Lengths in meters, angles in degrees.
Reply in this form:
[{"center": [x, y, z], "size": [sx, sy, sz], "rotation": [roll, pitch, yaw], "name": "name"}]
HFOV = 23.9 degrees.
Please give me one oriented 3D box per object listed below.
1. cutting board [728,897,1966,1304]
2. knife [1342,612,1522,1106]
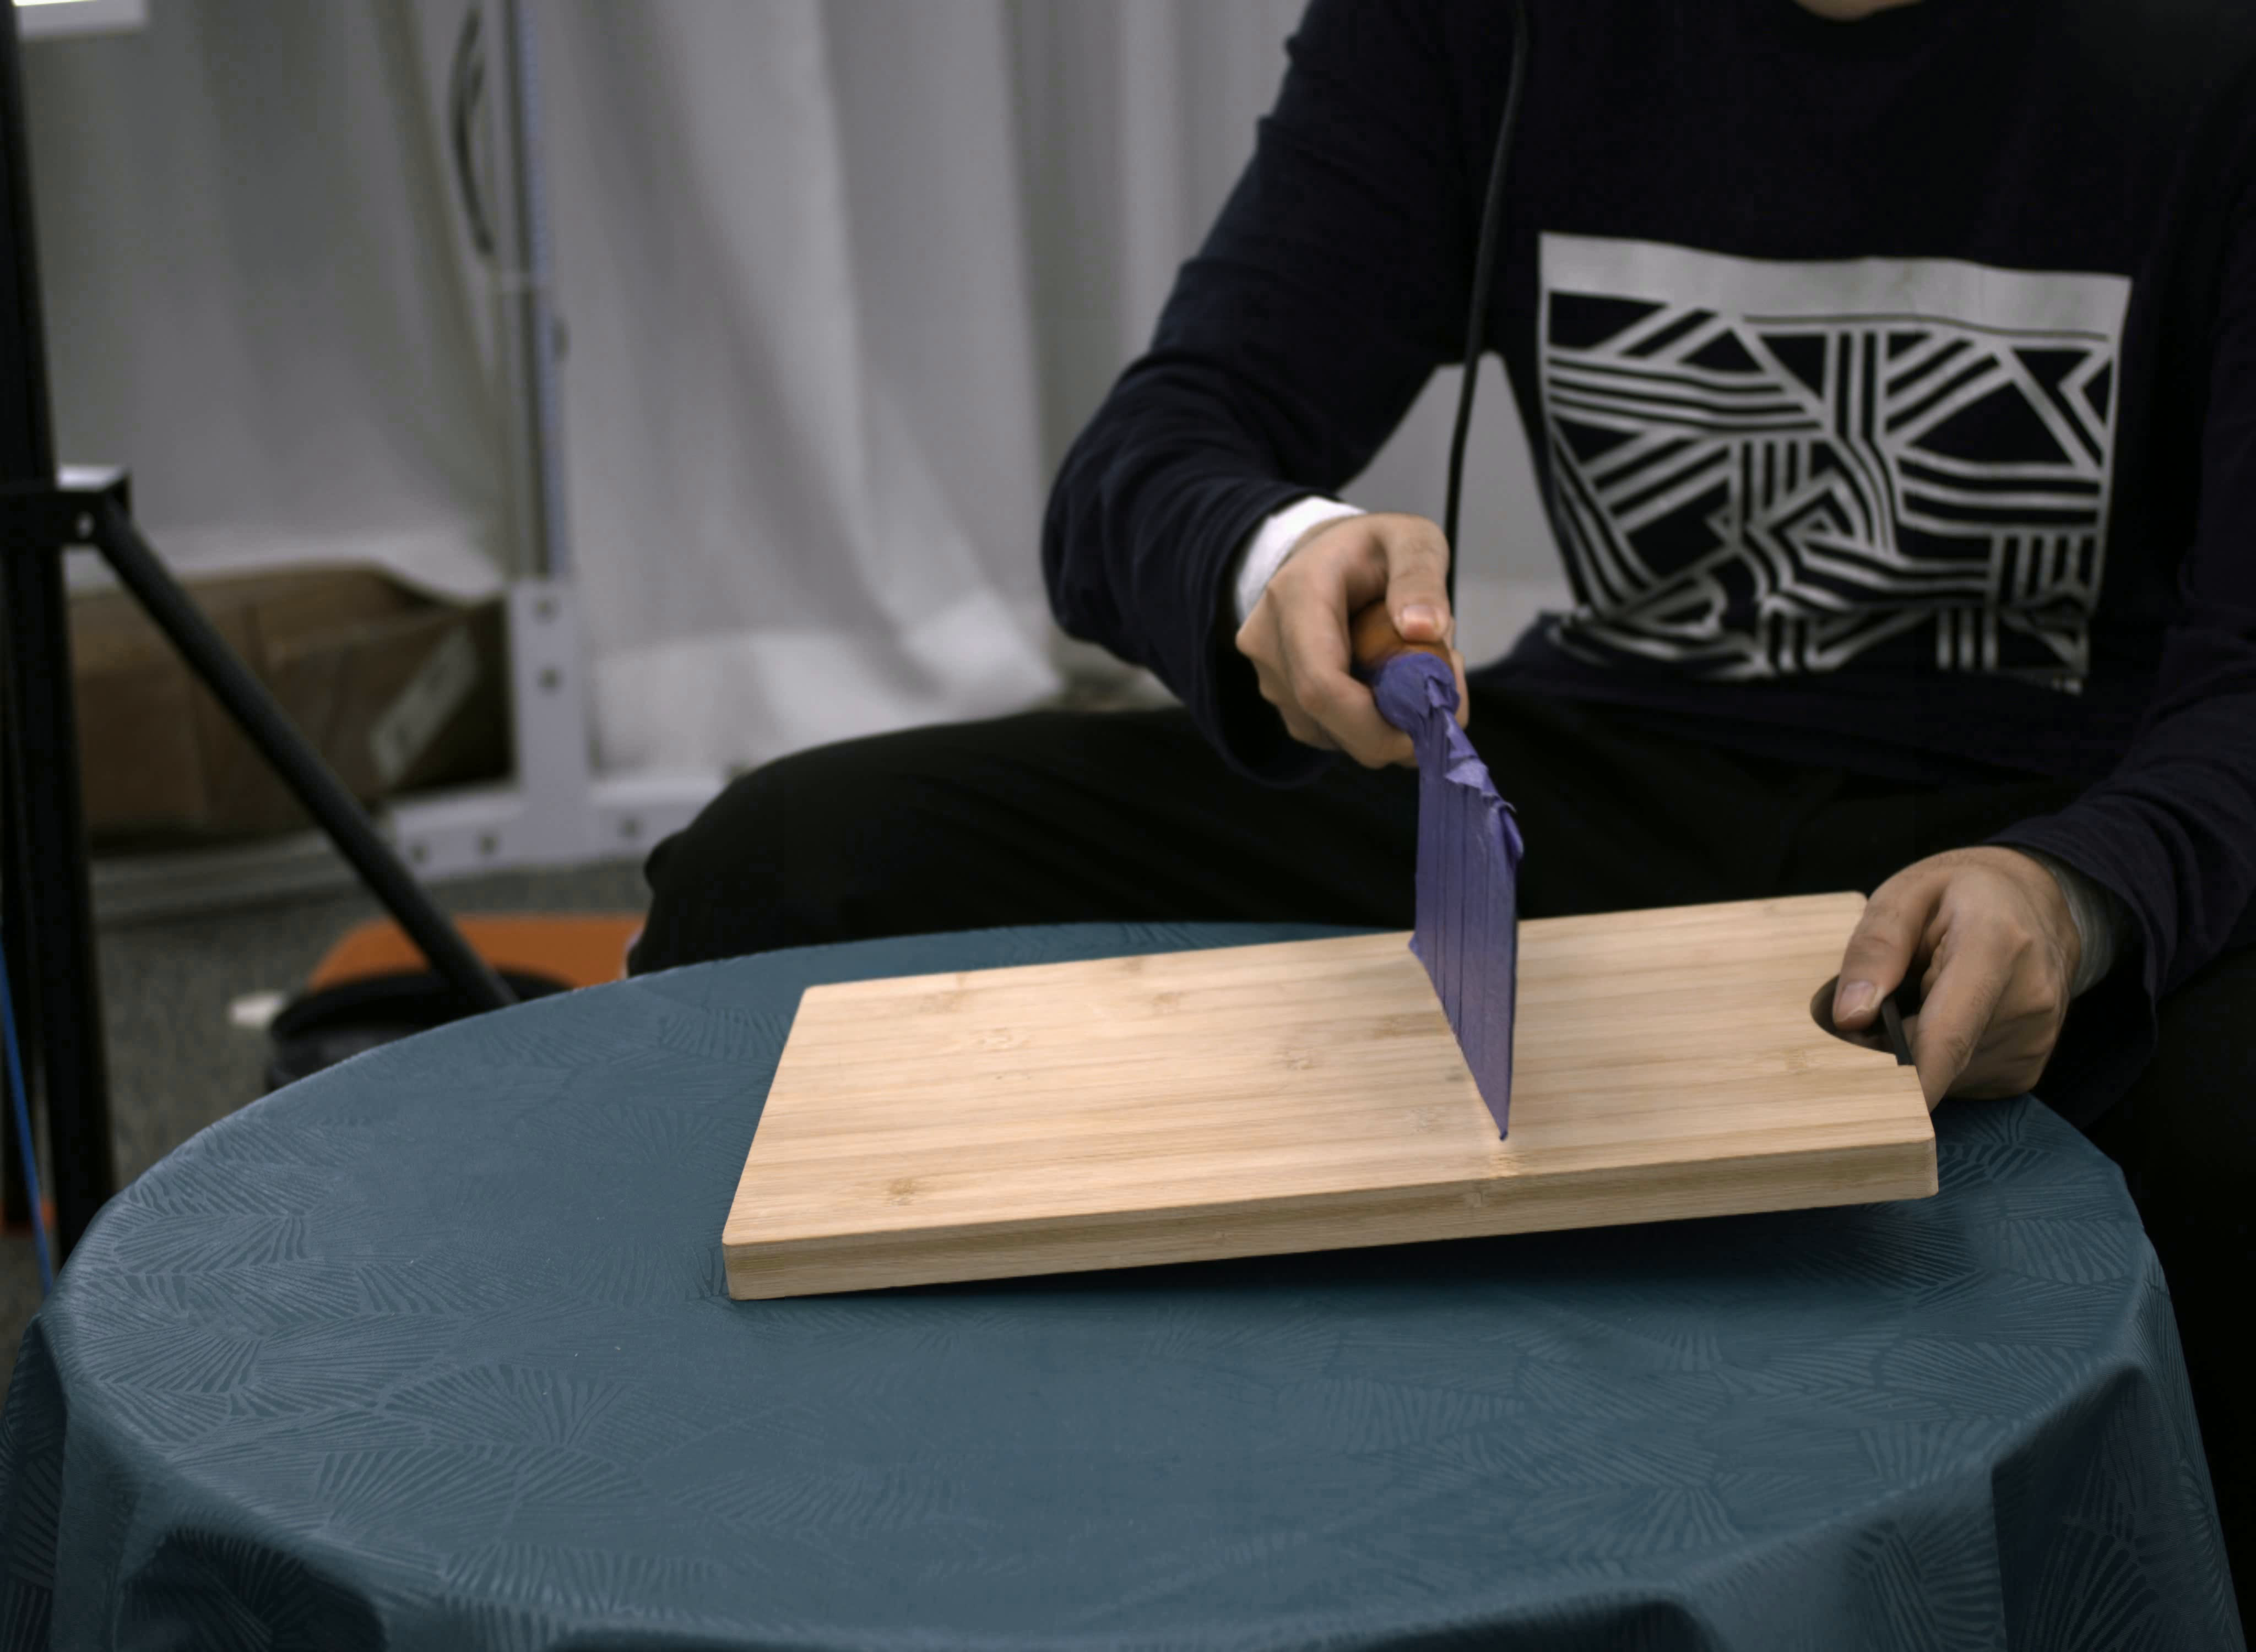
[{"center": [0.065, 0.078, 1.582], "size": [0.348, 0.023, 0.251], "rotation": [-5, 15, 5], "name": "cutting board"}, {"center": [0.091, 0.007, 1.604], "size": [0.032, 0.104, 0.317], "rotation": [3, 13, -3], "name": "knife"}]
